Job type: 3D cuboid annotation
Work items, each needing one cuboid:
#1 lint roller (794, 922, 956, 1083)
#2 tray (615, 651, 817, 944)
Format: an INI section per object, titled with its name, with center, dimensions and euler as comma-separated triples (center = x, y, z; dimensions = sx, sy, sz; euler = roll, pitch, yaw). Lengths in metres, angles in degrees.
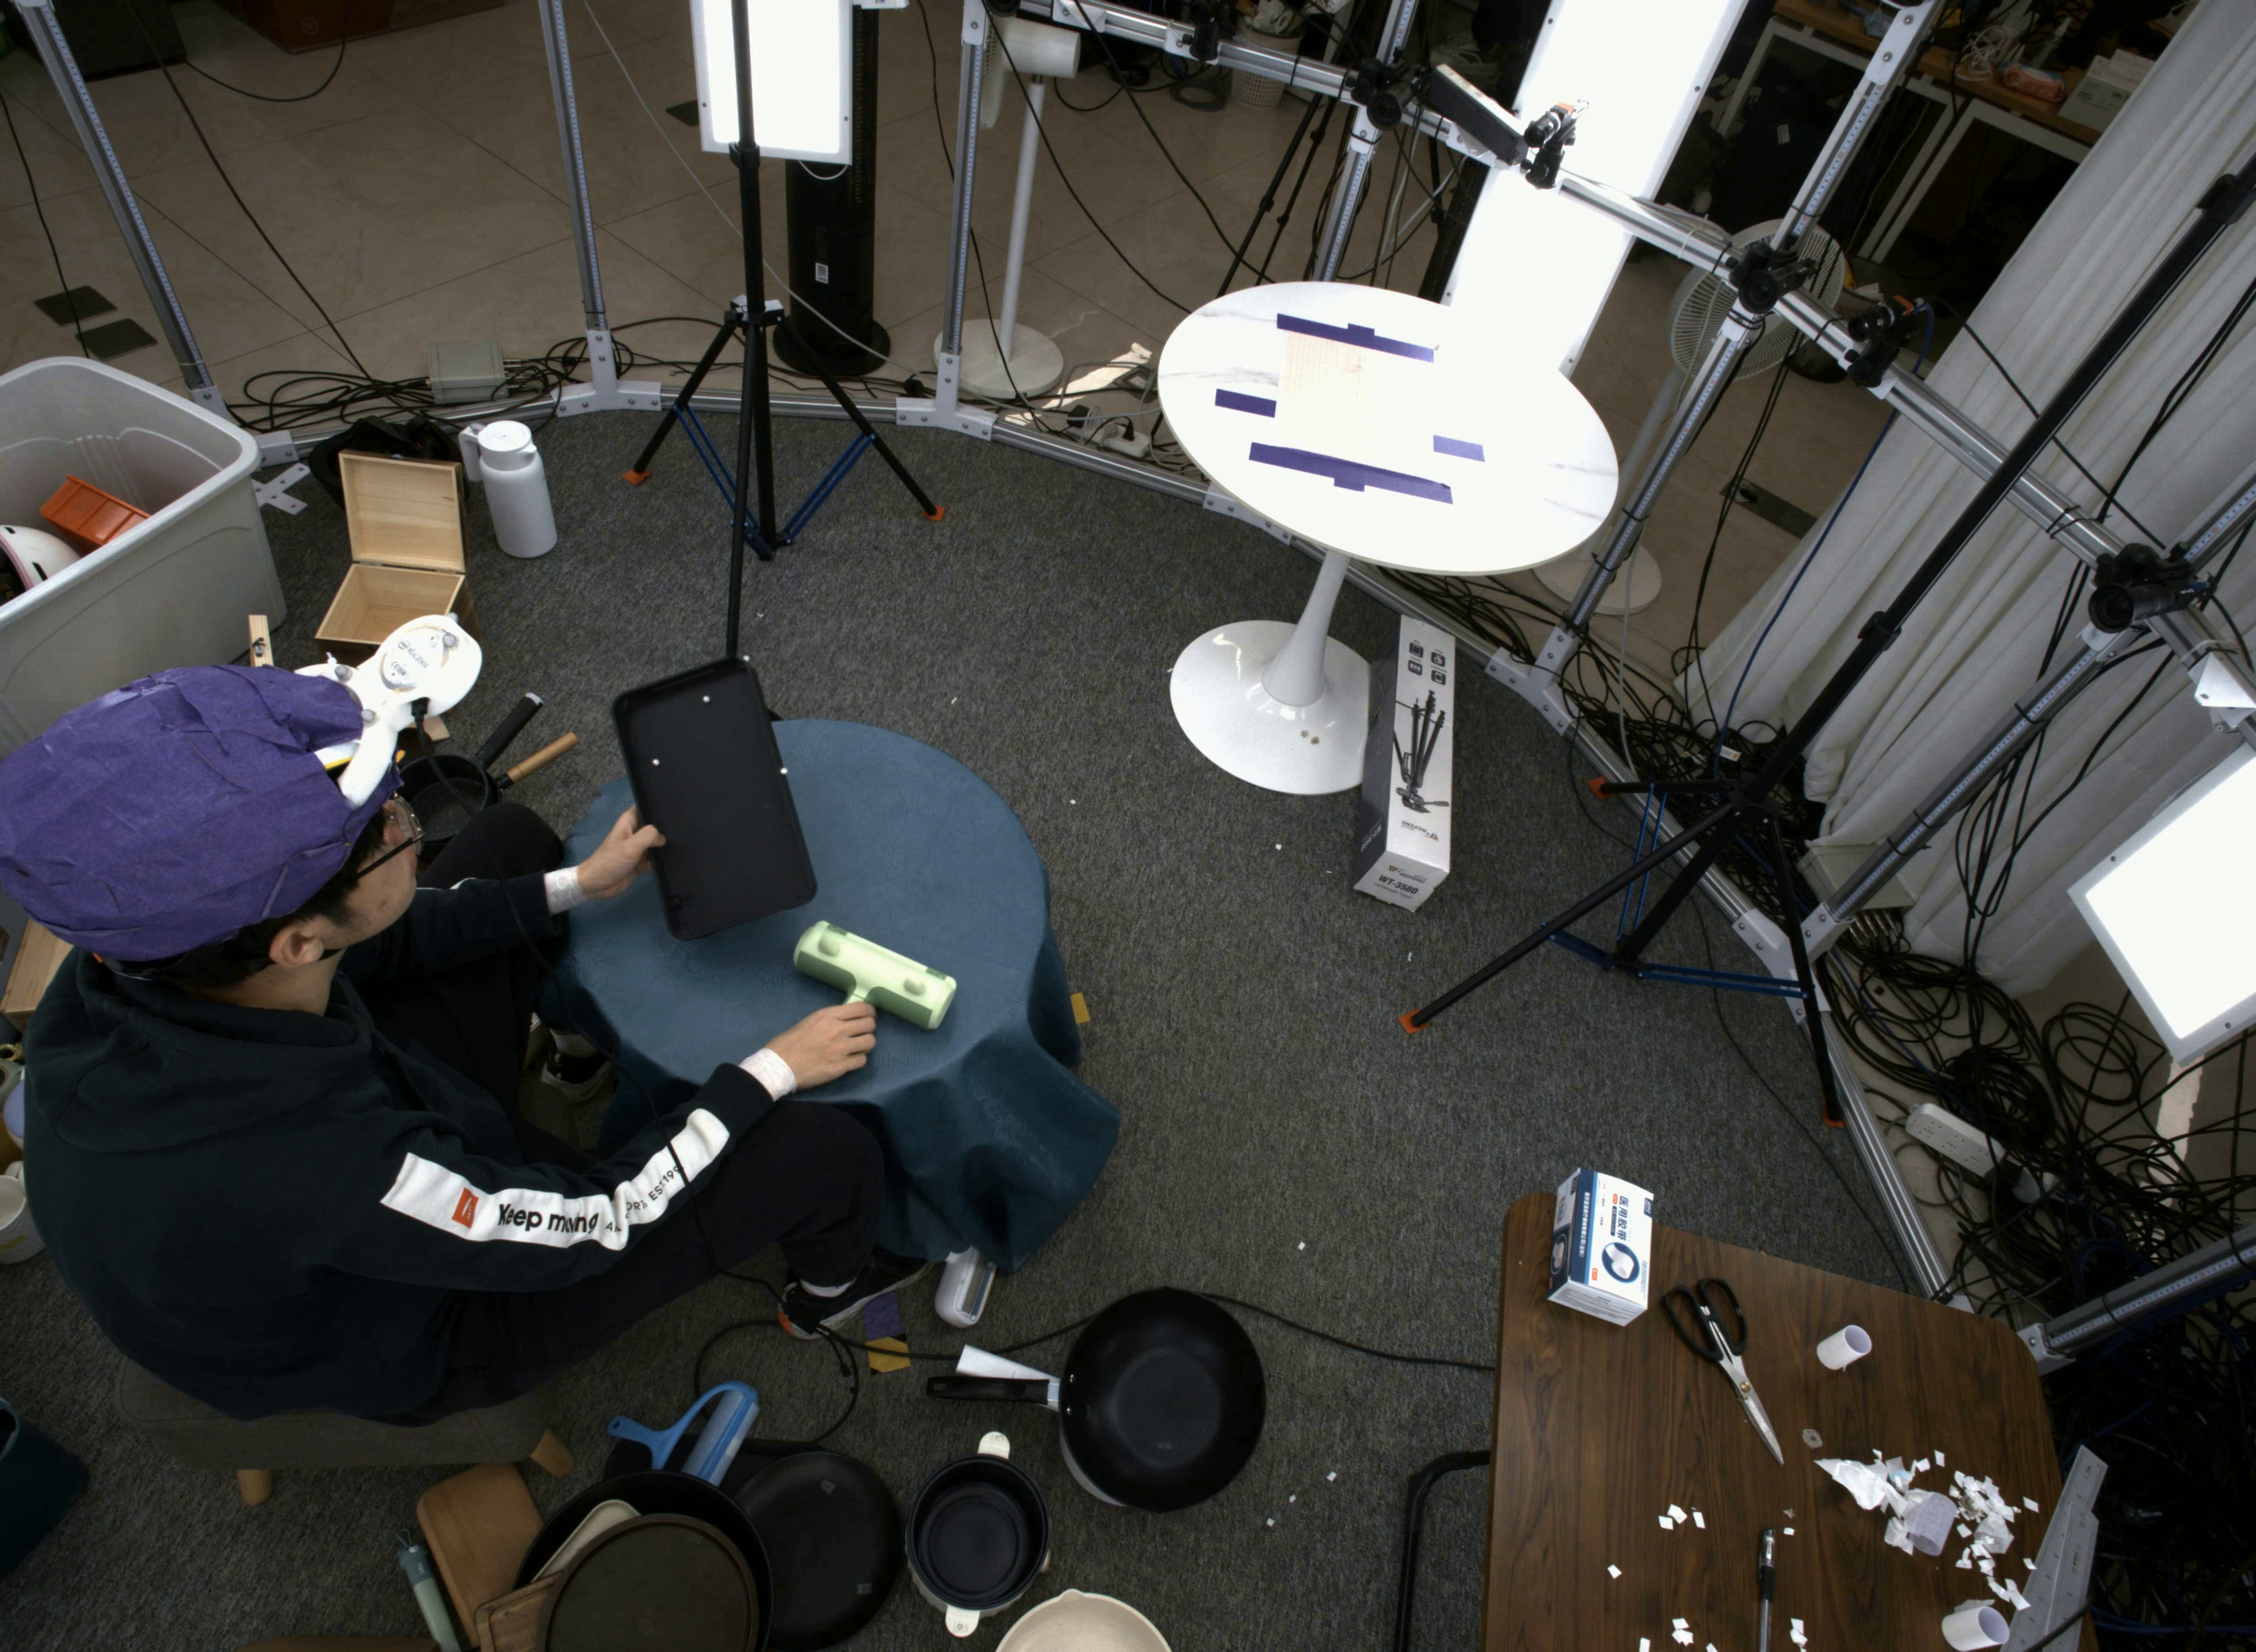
[lint roller]
center = -0.328, 0.213, 1.546
dimensions = 0.196, 0.084, 0.182
euler = 23, 48, 4
[tray]
center = -0.501, -0.035, 1.558
dimensions = 0.182, 0.037, 0.319
euler = -18, 86, 1
